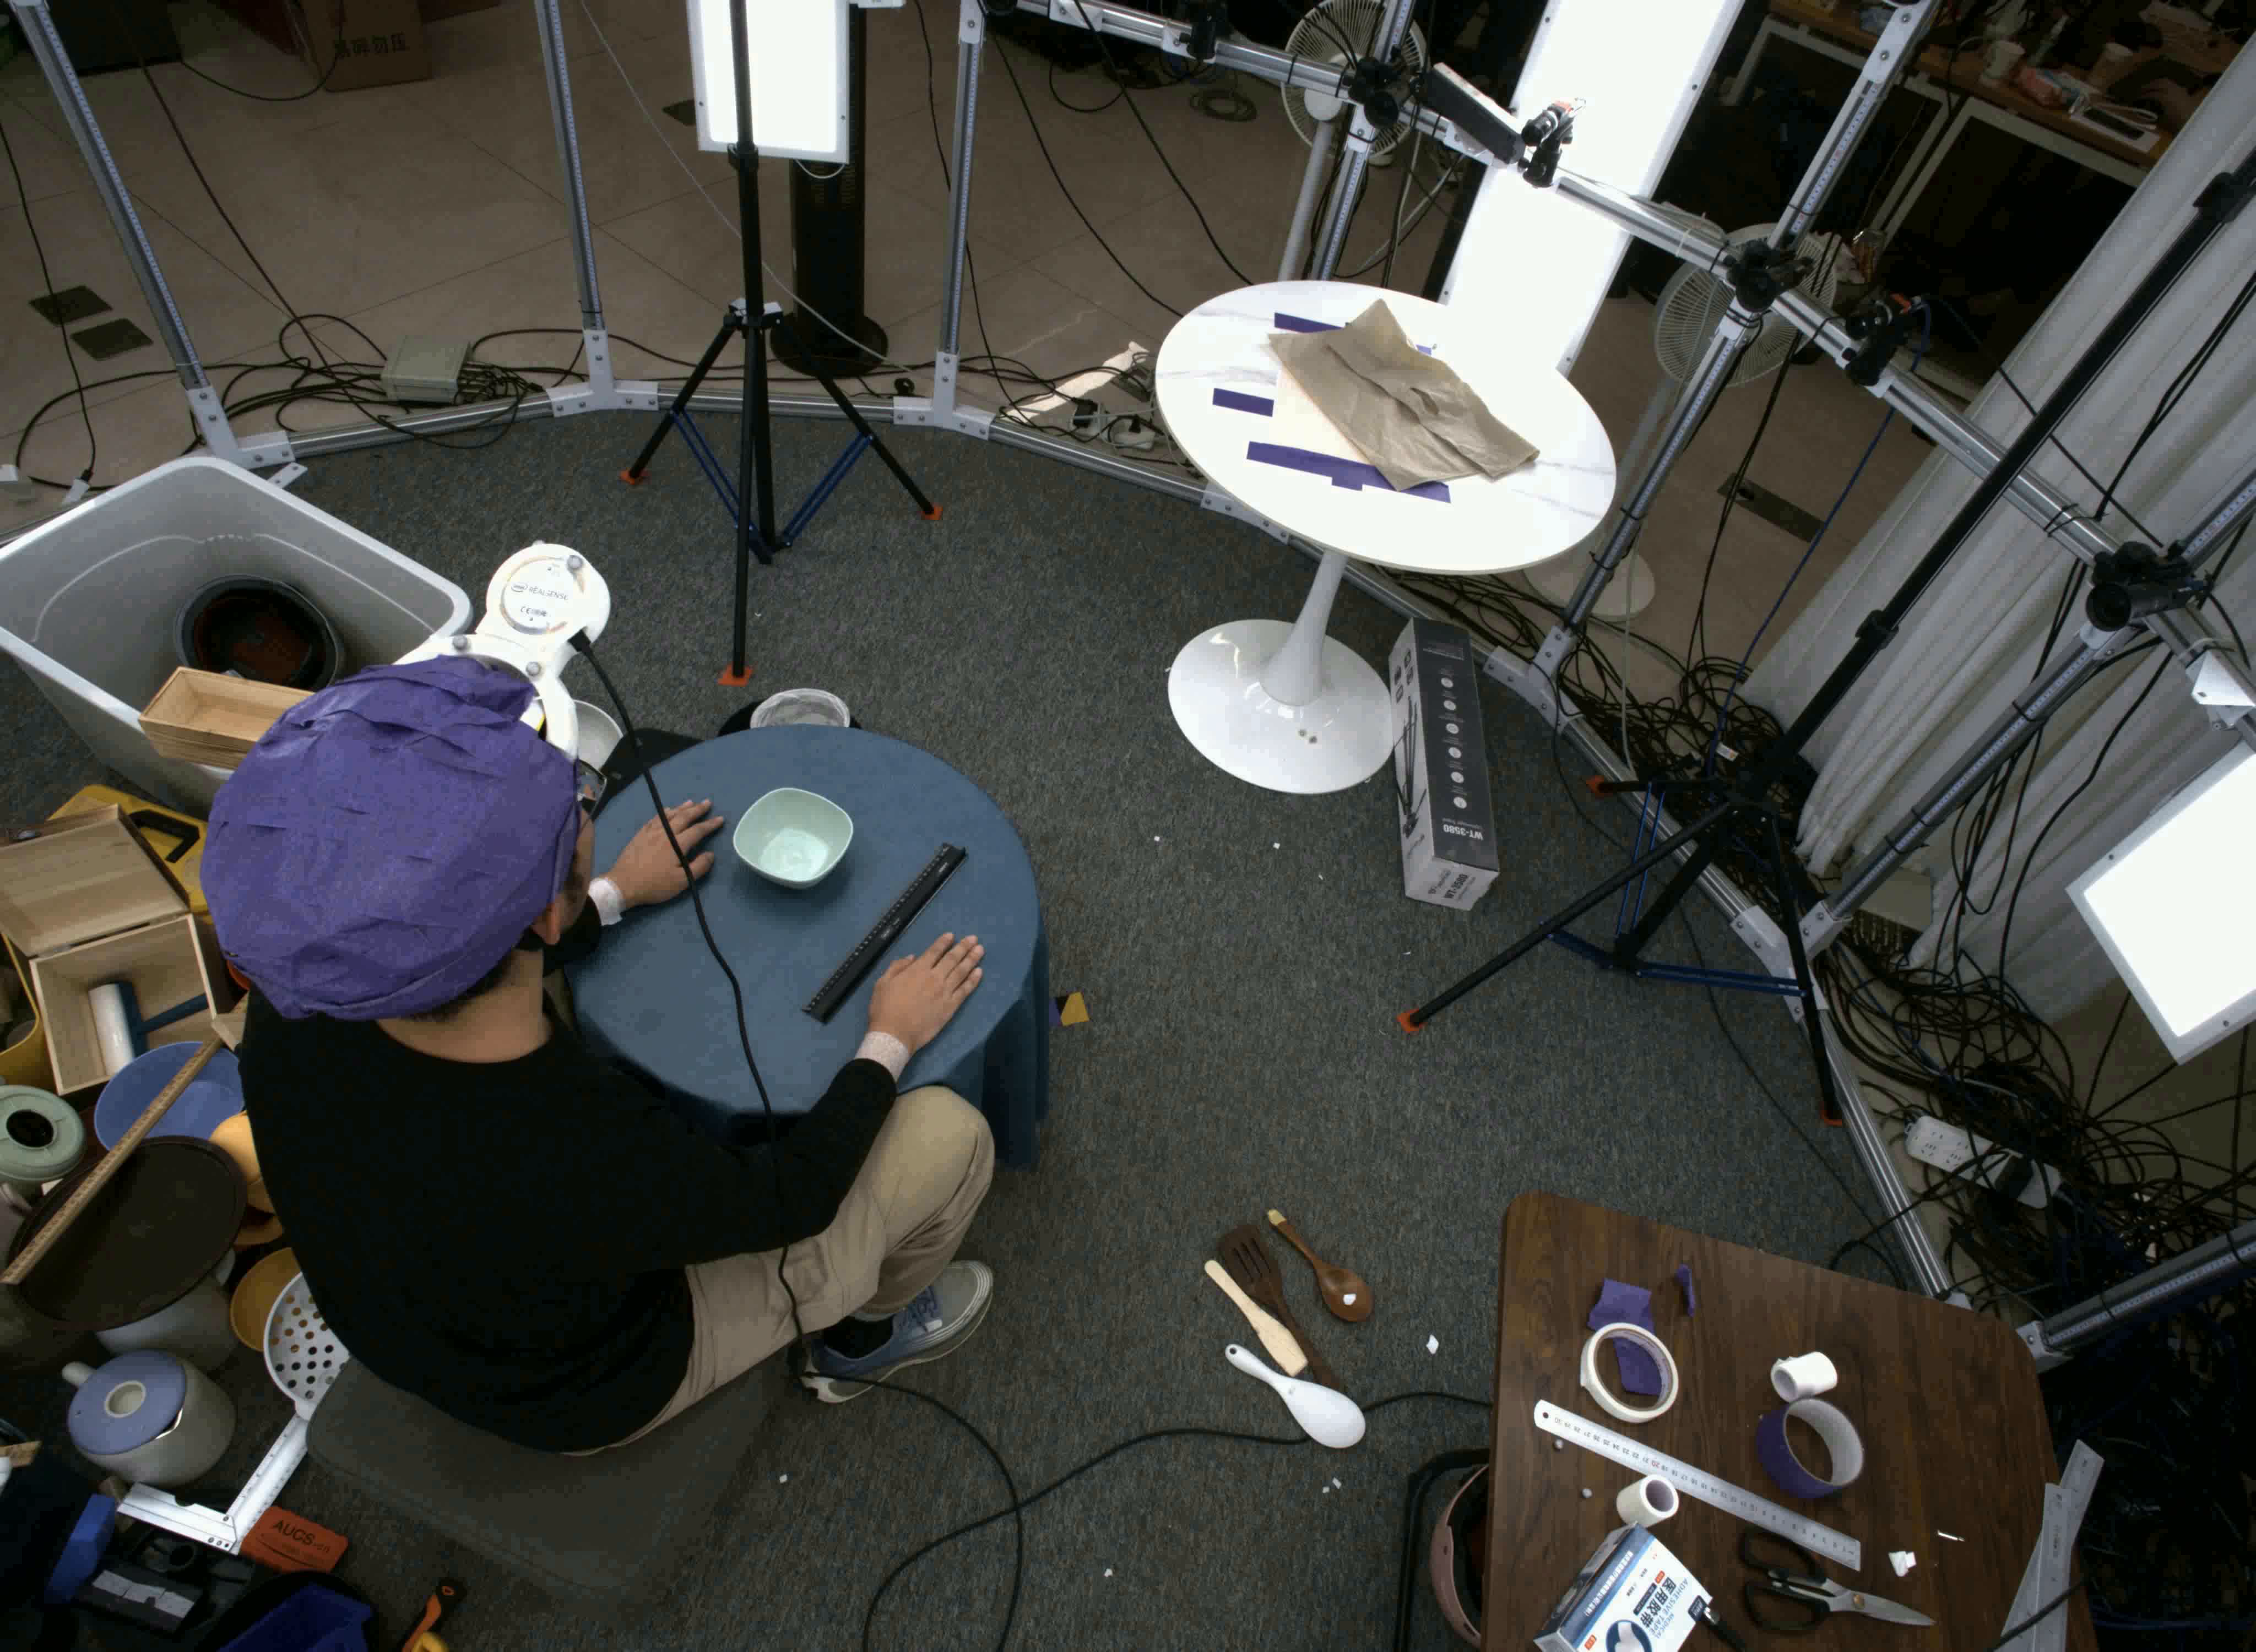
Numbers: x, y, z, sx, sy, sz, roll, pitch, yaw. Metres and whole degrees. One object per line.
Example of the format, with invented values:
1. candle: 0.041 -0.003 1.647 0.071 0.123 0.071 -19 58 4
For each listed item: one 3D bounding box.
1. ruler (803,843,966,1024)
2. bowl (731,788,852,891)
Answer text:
1. ruler: -0.304 0.124 1.648 0.038 0.017 0.311 27 52 12
2. bowl: -0.430 0.026 1.662 0.151 0.060 0.148 9 50 -10
